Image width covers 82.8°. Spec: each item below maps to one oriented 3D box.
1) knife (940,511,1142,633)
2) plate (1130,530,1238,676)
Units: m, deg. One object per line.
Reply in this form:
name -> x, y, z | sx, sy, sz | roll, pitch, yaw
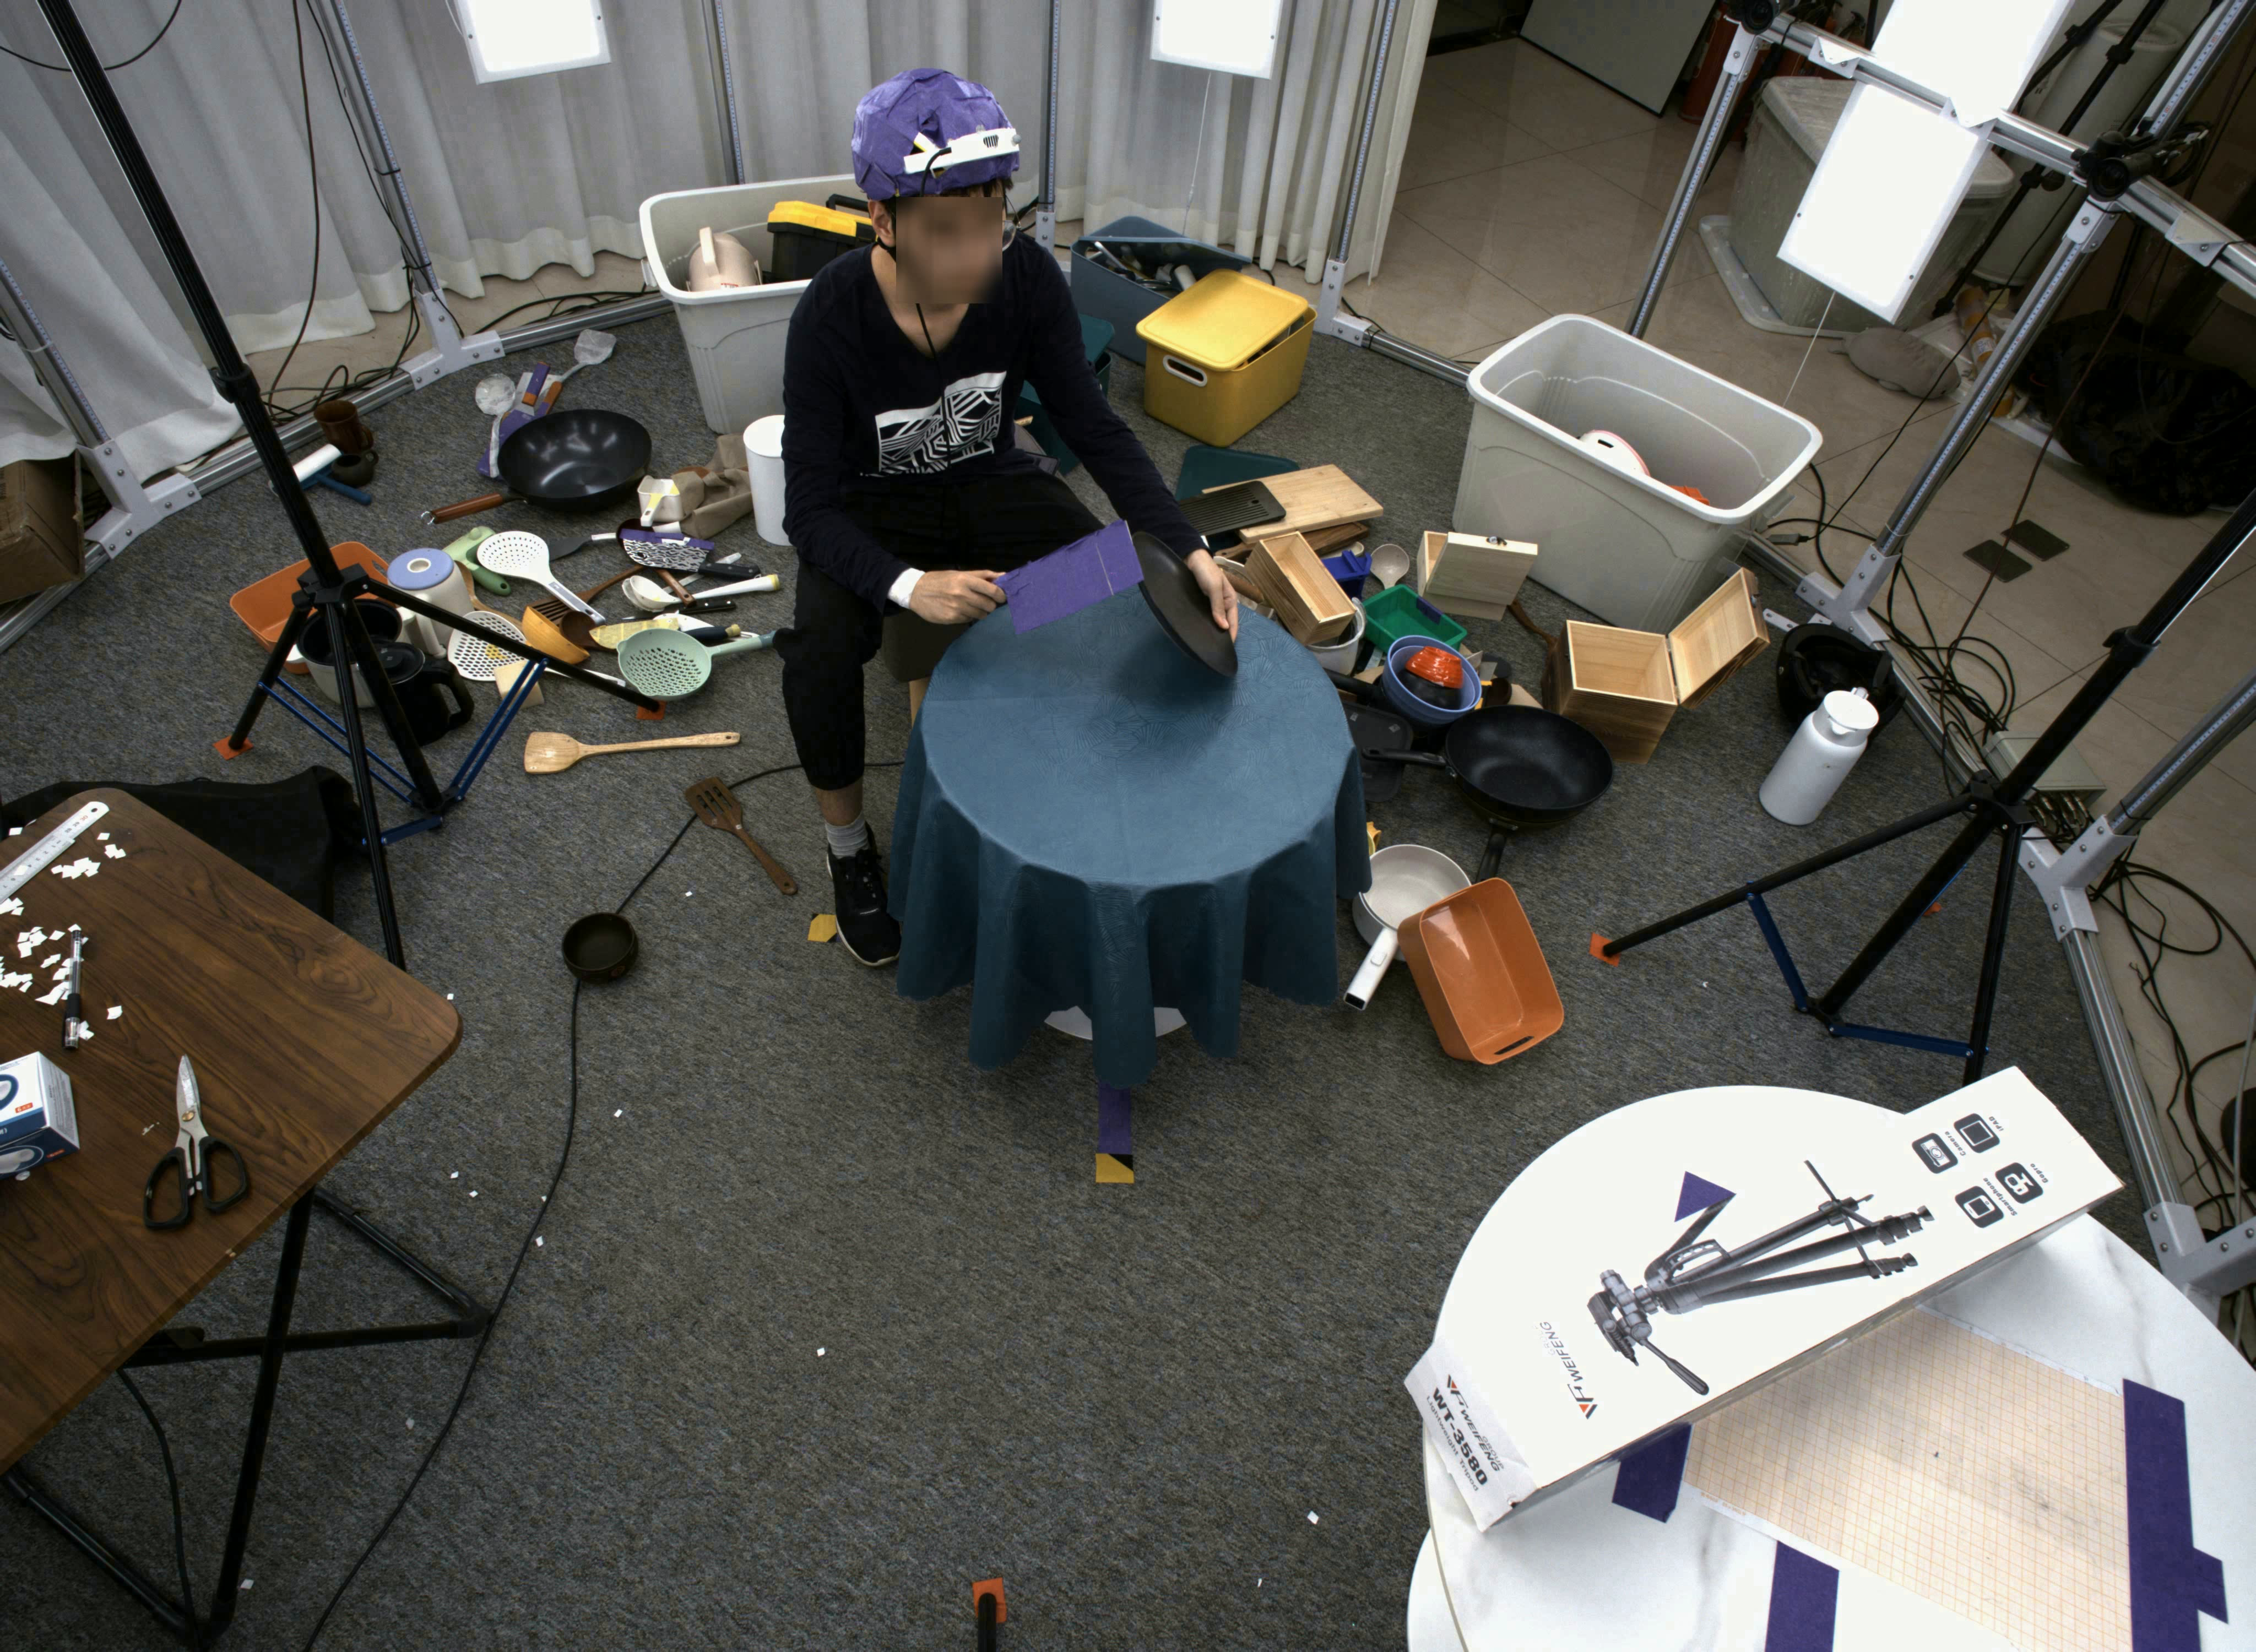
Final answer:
knife -> -0.124, -0.325, 1.776 | 0.314, 0.032, 0.105 | -20, 80, 28
plate -> 0.074, -0.310, 1.815 | 0.023, 0.240, 0.250 | -34, 46, 24
